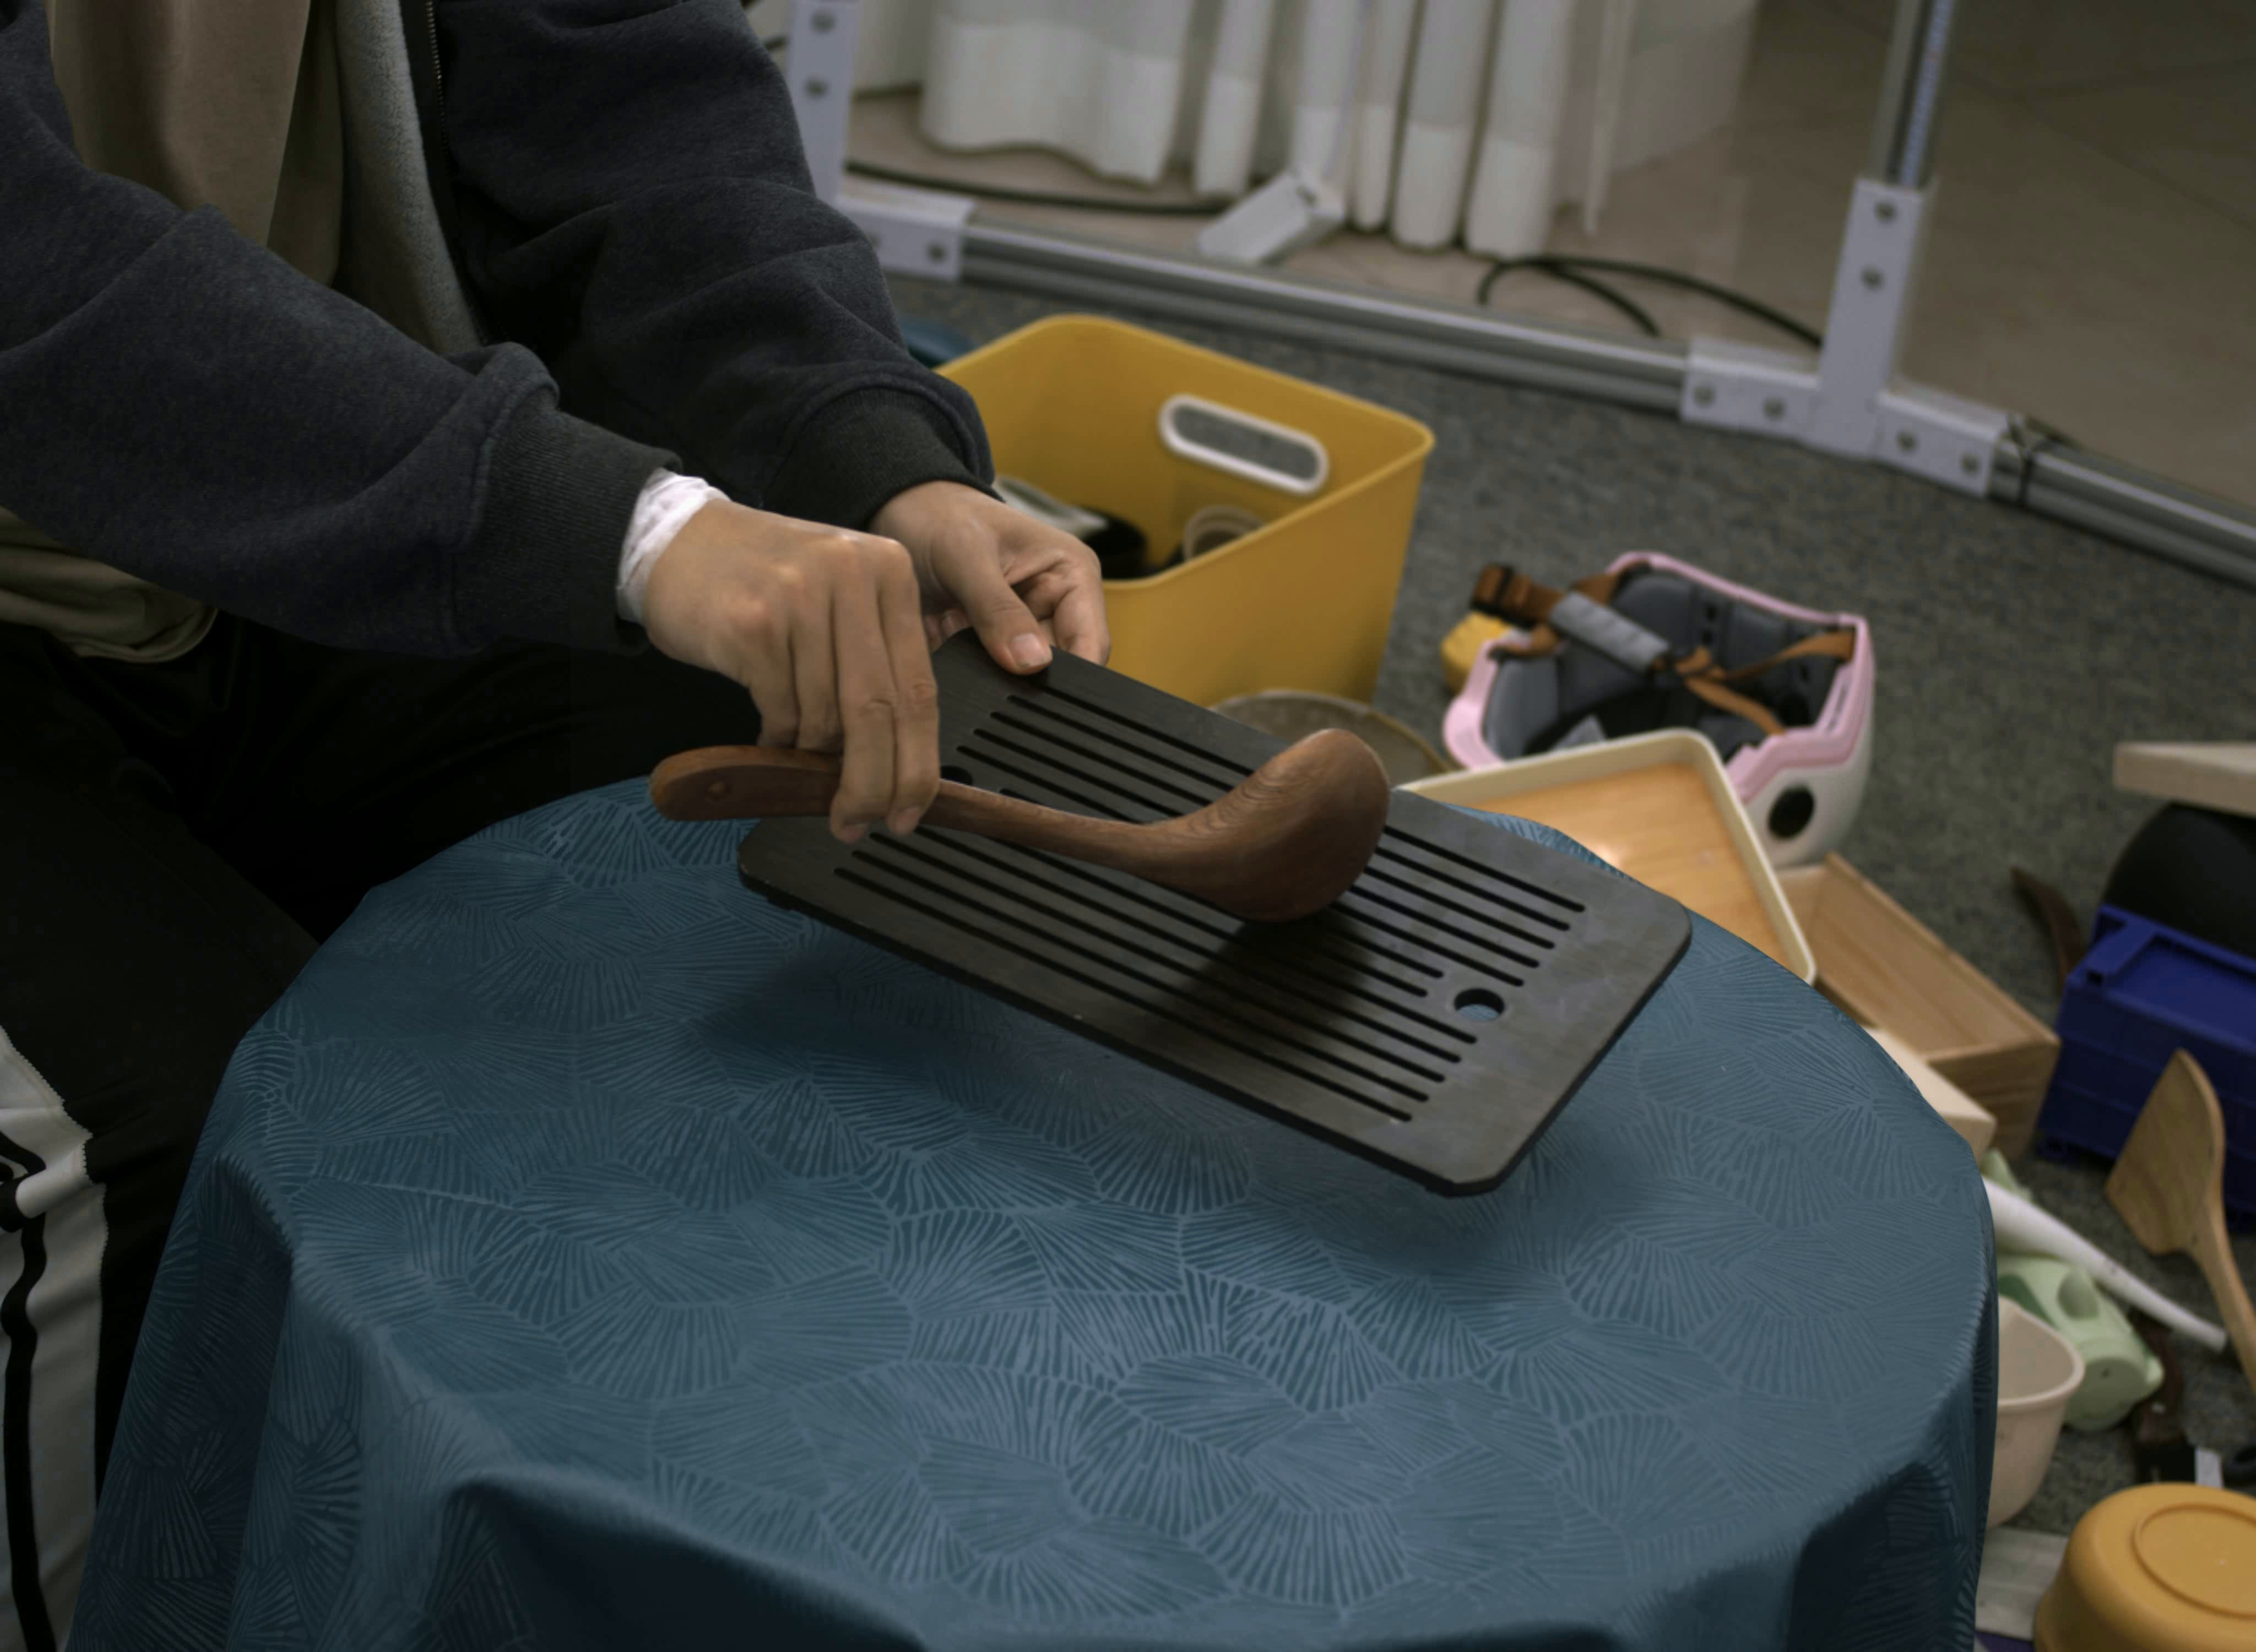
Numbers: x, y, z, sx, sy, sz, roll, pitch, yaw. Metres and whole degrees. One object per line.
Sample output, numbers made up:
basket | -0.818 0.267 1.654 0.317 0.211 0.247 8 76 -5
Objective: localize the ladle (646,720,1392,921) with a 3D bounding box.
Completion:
ladle | -0.036 -0.012 1.816 0.259 0.076 0.065 7 32 -9

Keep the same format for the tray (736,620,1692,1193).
tray | 0.029 0.026 1.871 0.307 0.018 0.170 23 44 23
